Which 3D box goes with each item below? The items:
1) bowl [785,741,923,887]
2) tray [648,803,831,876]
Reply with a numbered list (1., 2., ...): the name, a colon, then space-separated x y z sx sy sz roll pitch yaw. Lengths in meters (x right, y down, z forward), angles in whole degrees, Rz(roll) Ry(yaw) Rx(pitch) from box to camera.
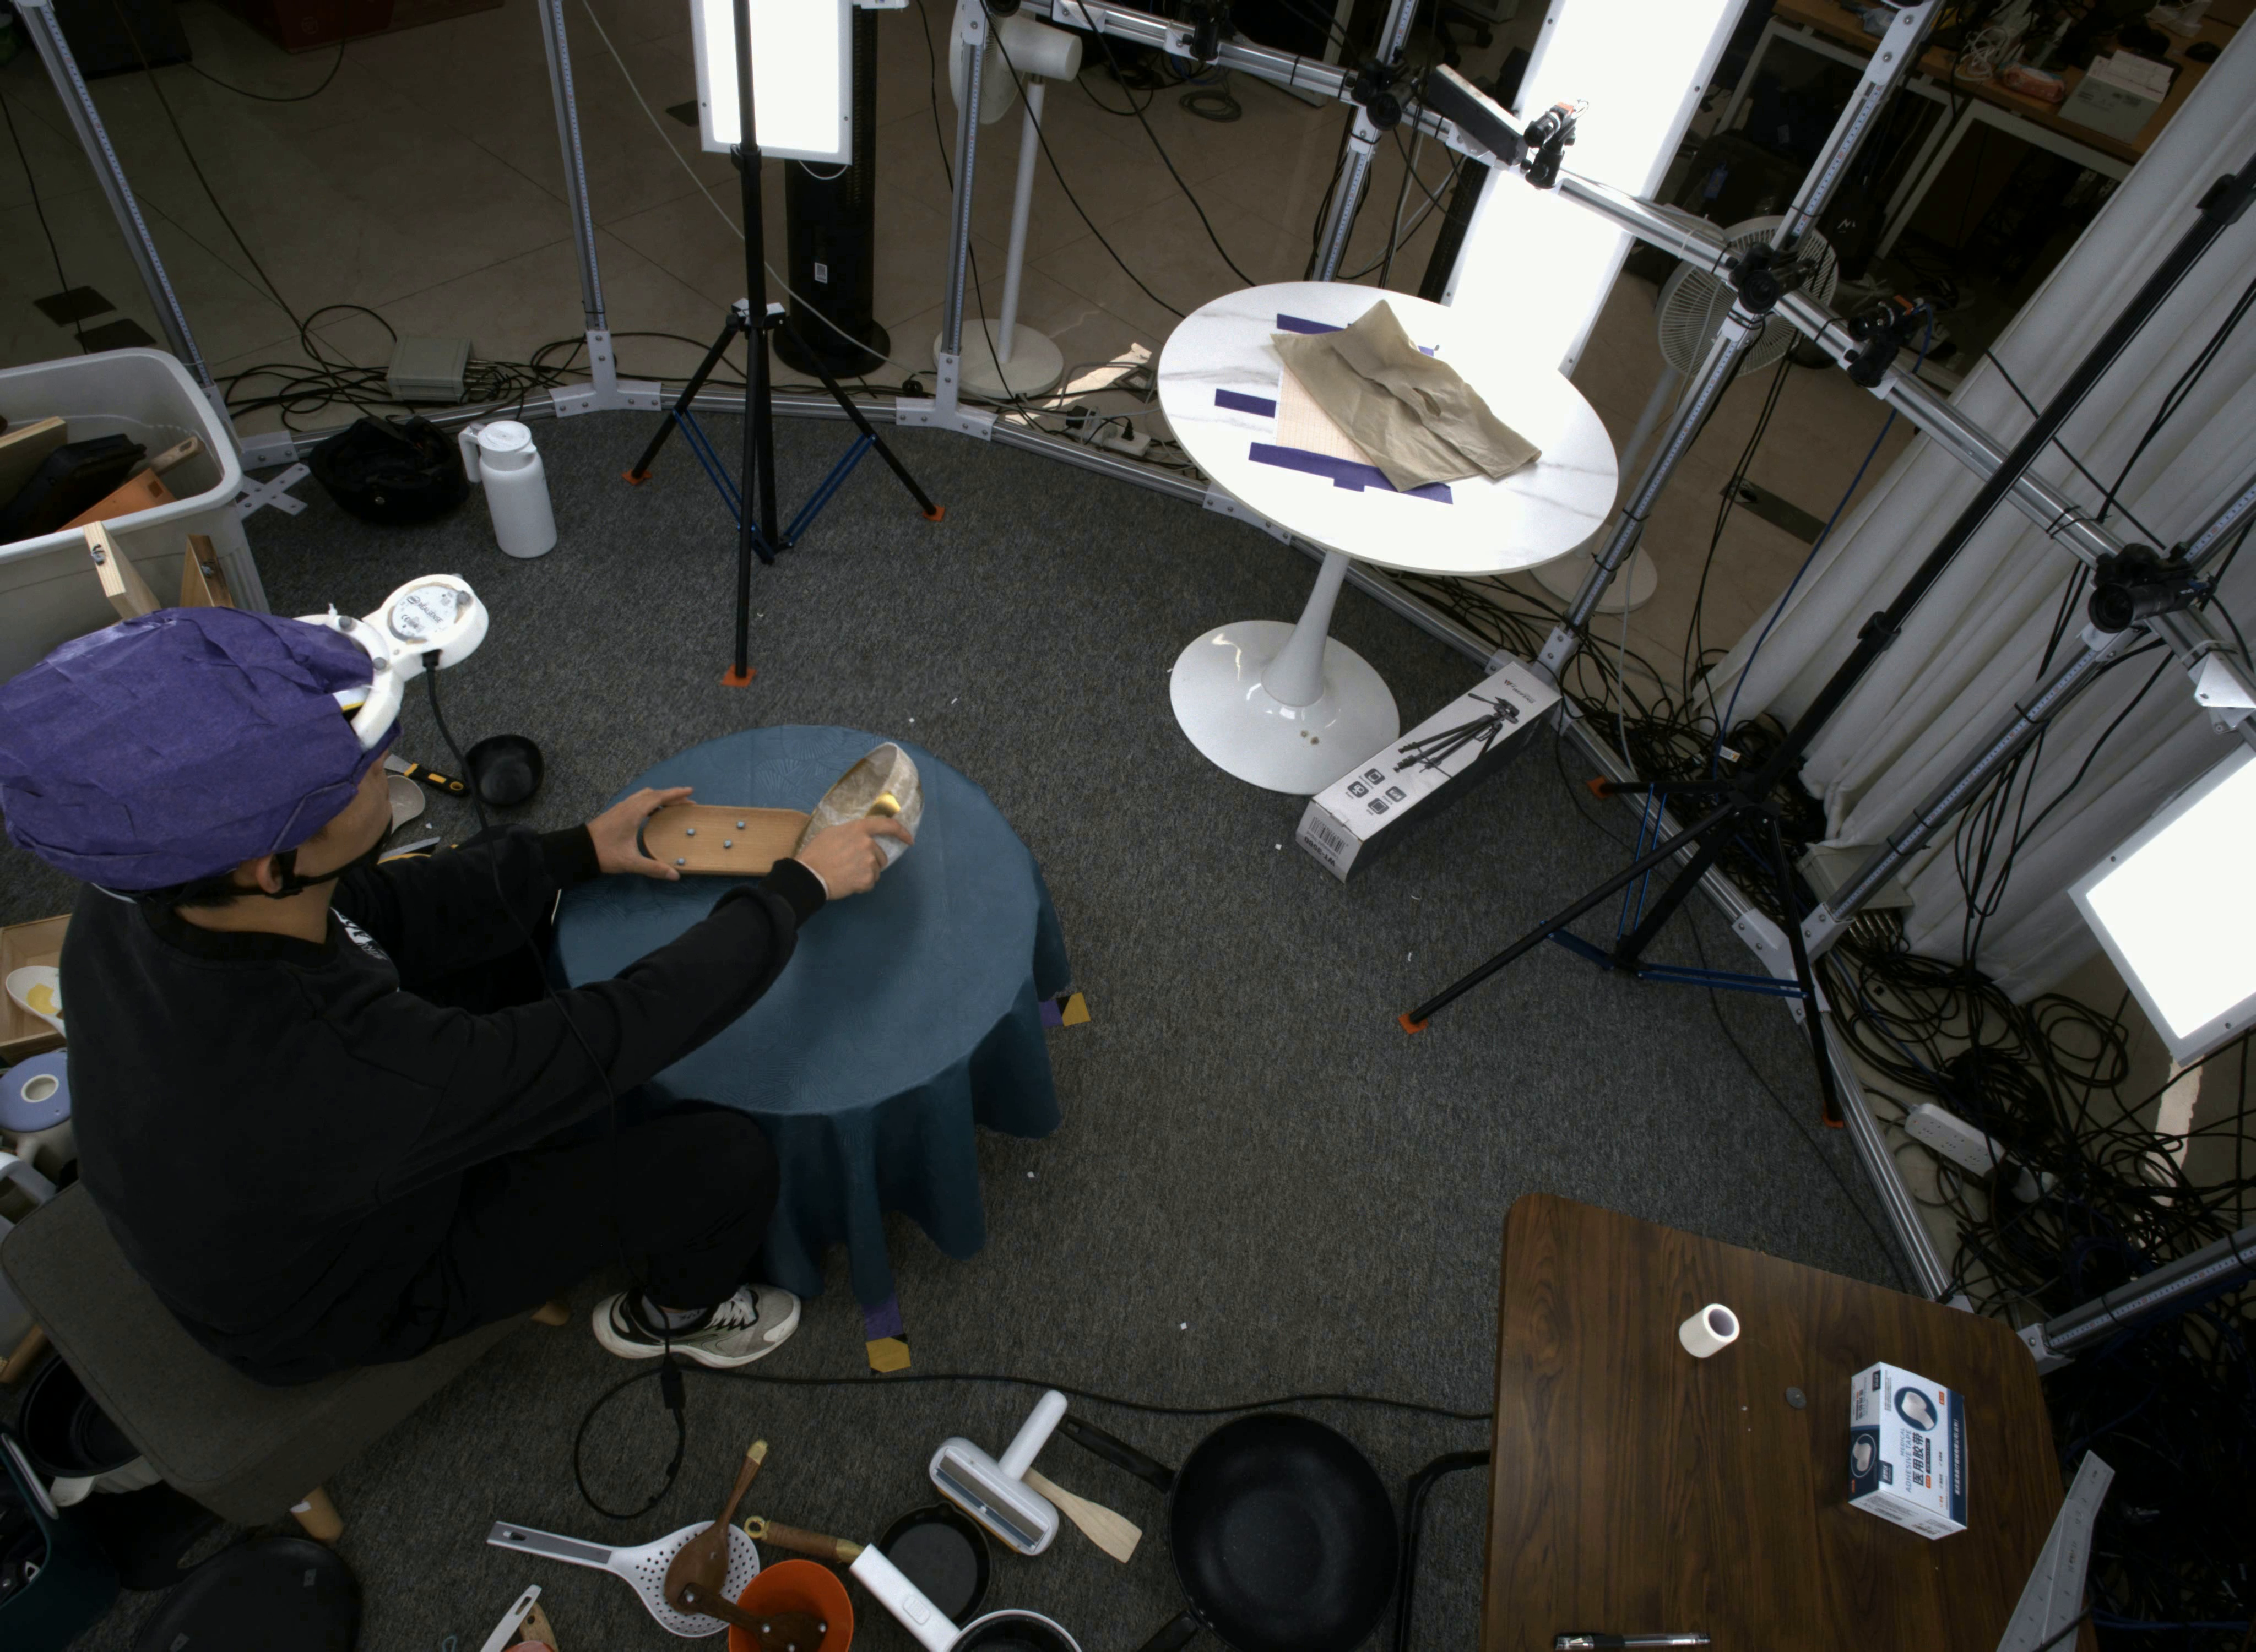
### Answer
1. bowl: -0.329 0.001 1.643 0.097 0.211 0.212 42 45 -27
2. tray: -0.499 0.018 1.661 0.234 0.020 0.100 3 58 -28
